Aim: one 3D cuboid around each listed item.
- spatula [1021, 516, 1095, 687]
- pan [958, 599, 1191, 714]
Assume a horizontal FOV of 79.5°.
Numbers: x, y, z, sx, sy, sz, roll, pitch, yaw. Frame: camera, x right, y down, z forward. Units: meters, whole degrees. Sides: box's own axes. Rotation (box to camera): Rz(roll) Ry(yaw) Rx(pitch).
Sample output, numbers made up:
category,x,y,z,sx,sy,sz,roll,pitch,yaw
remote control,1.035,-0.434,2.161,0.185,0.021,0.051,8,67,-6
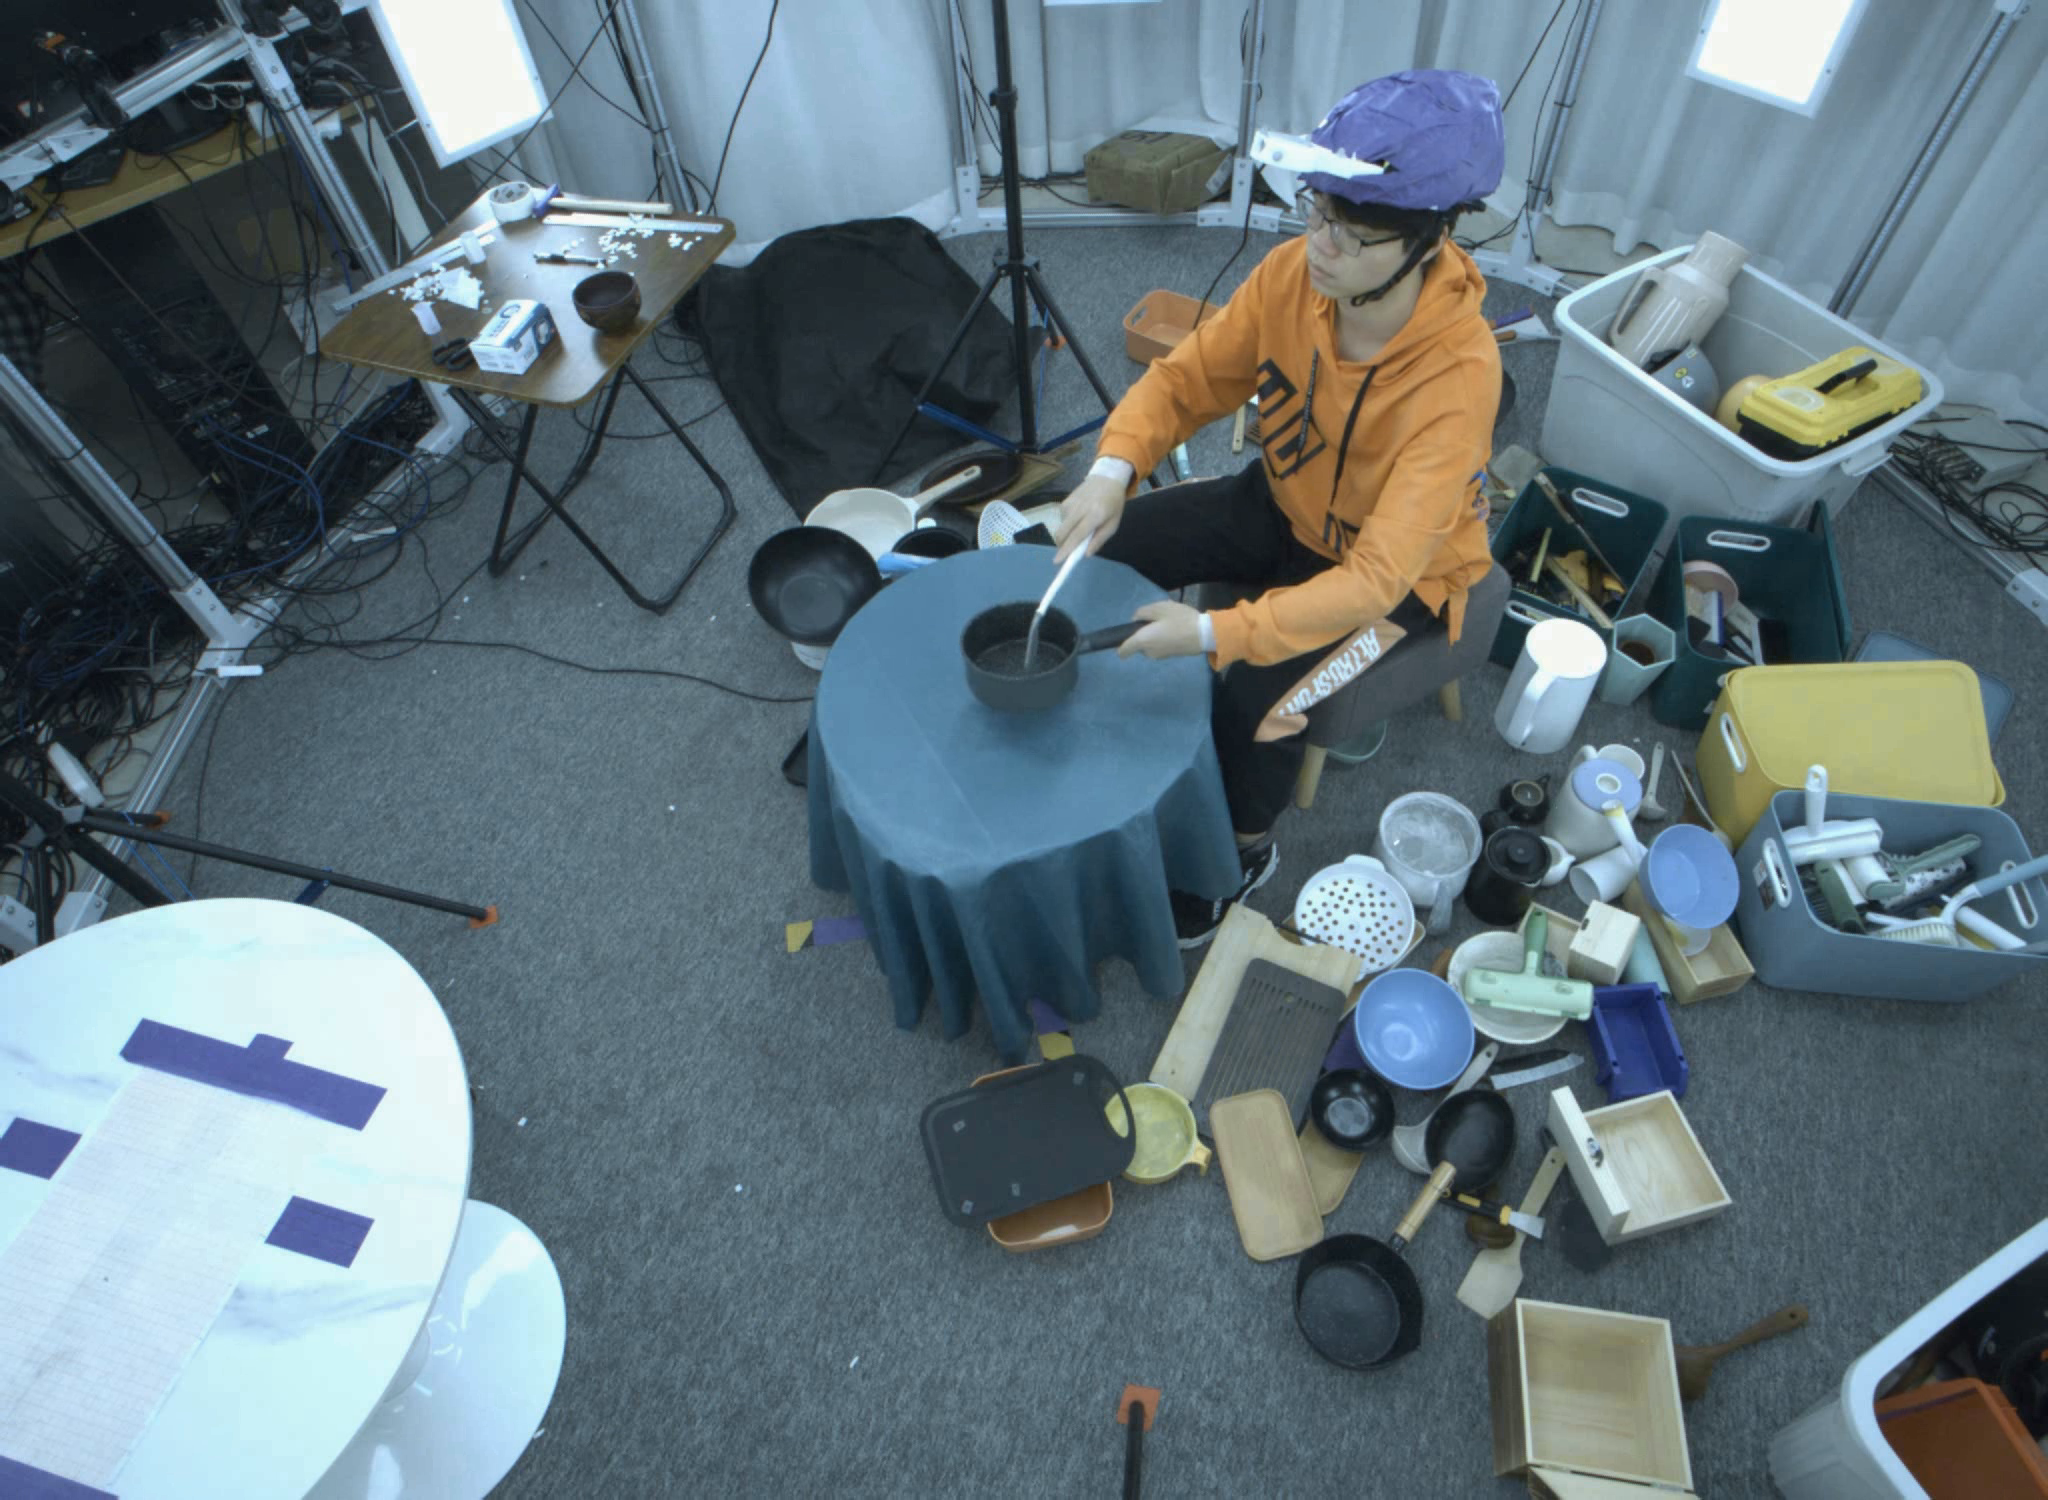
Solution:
category,x,y,z,sx,sy,sz,roll,pitch,yaw
spatula,0.040,-0.216,1.740,0.032,0.059,0.287,17,63,11
pan,0.074,-0.141,1.758,0.329,0.087,0.170,-5,48,-1
